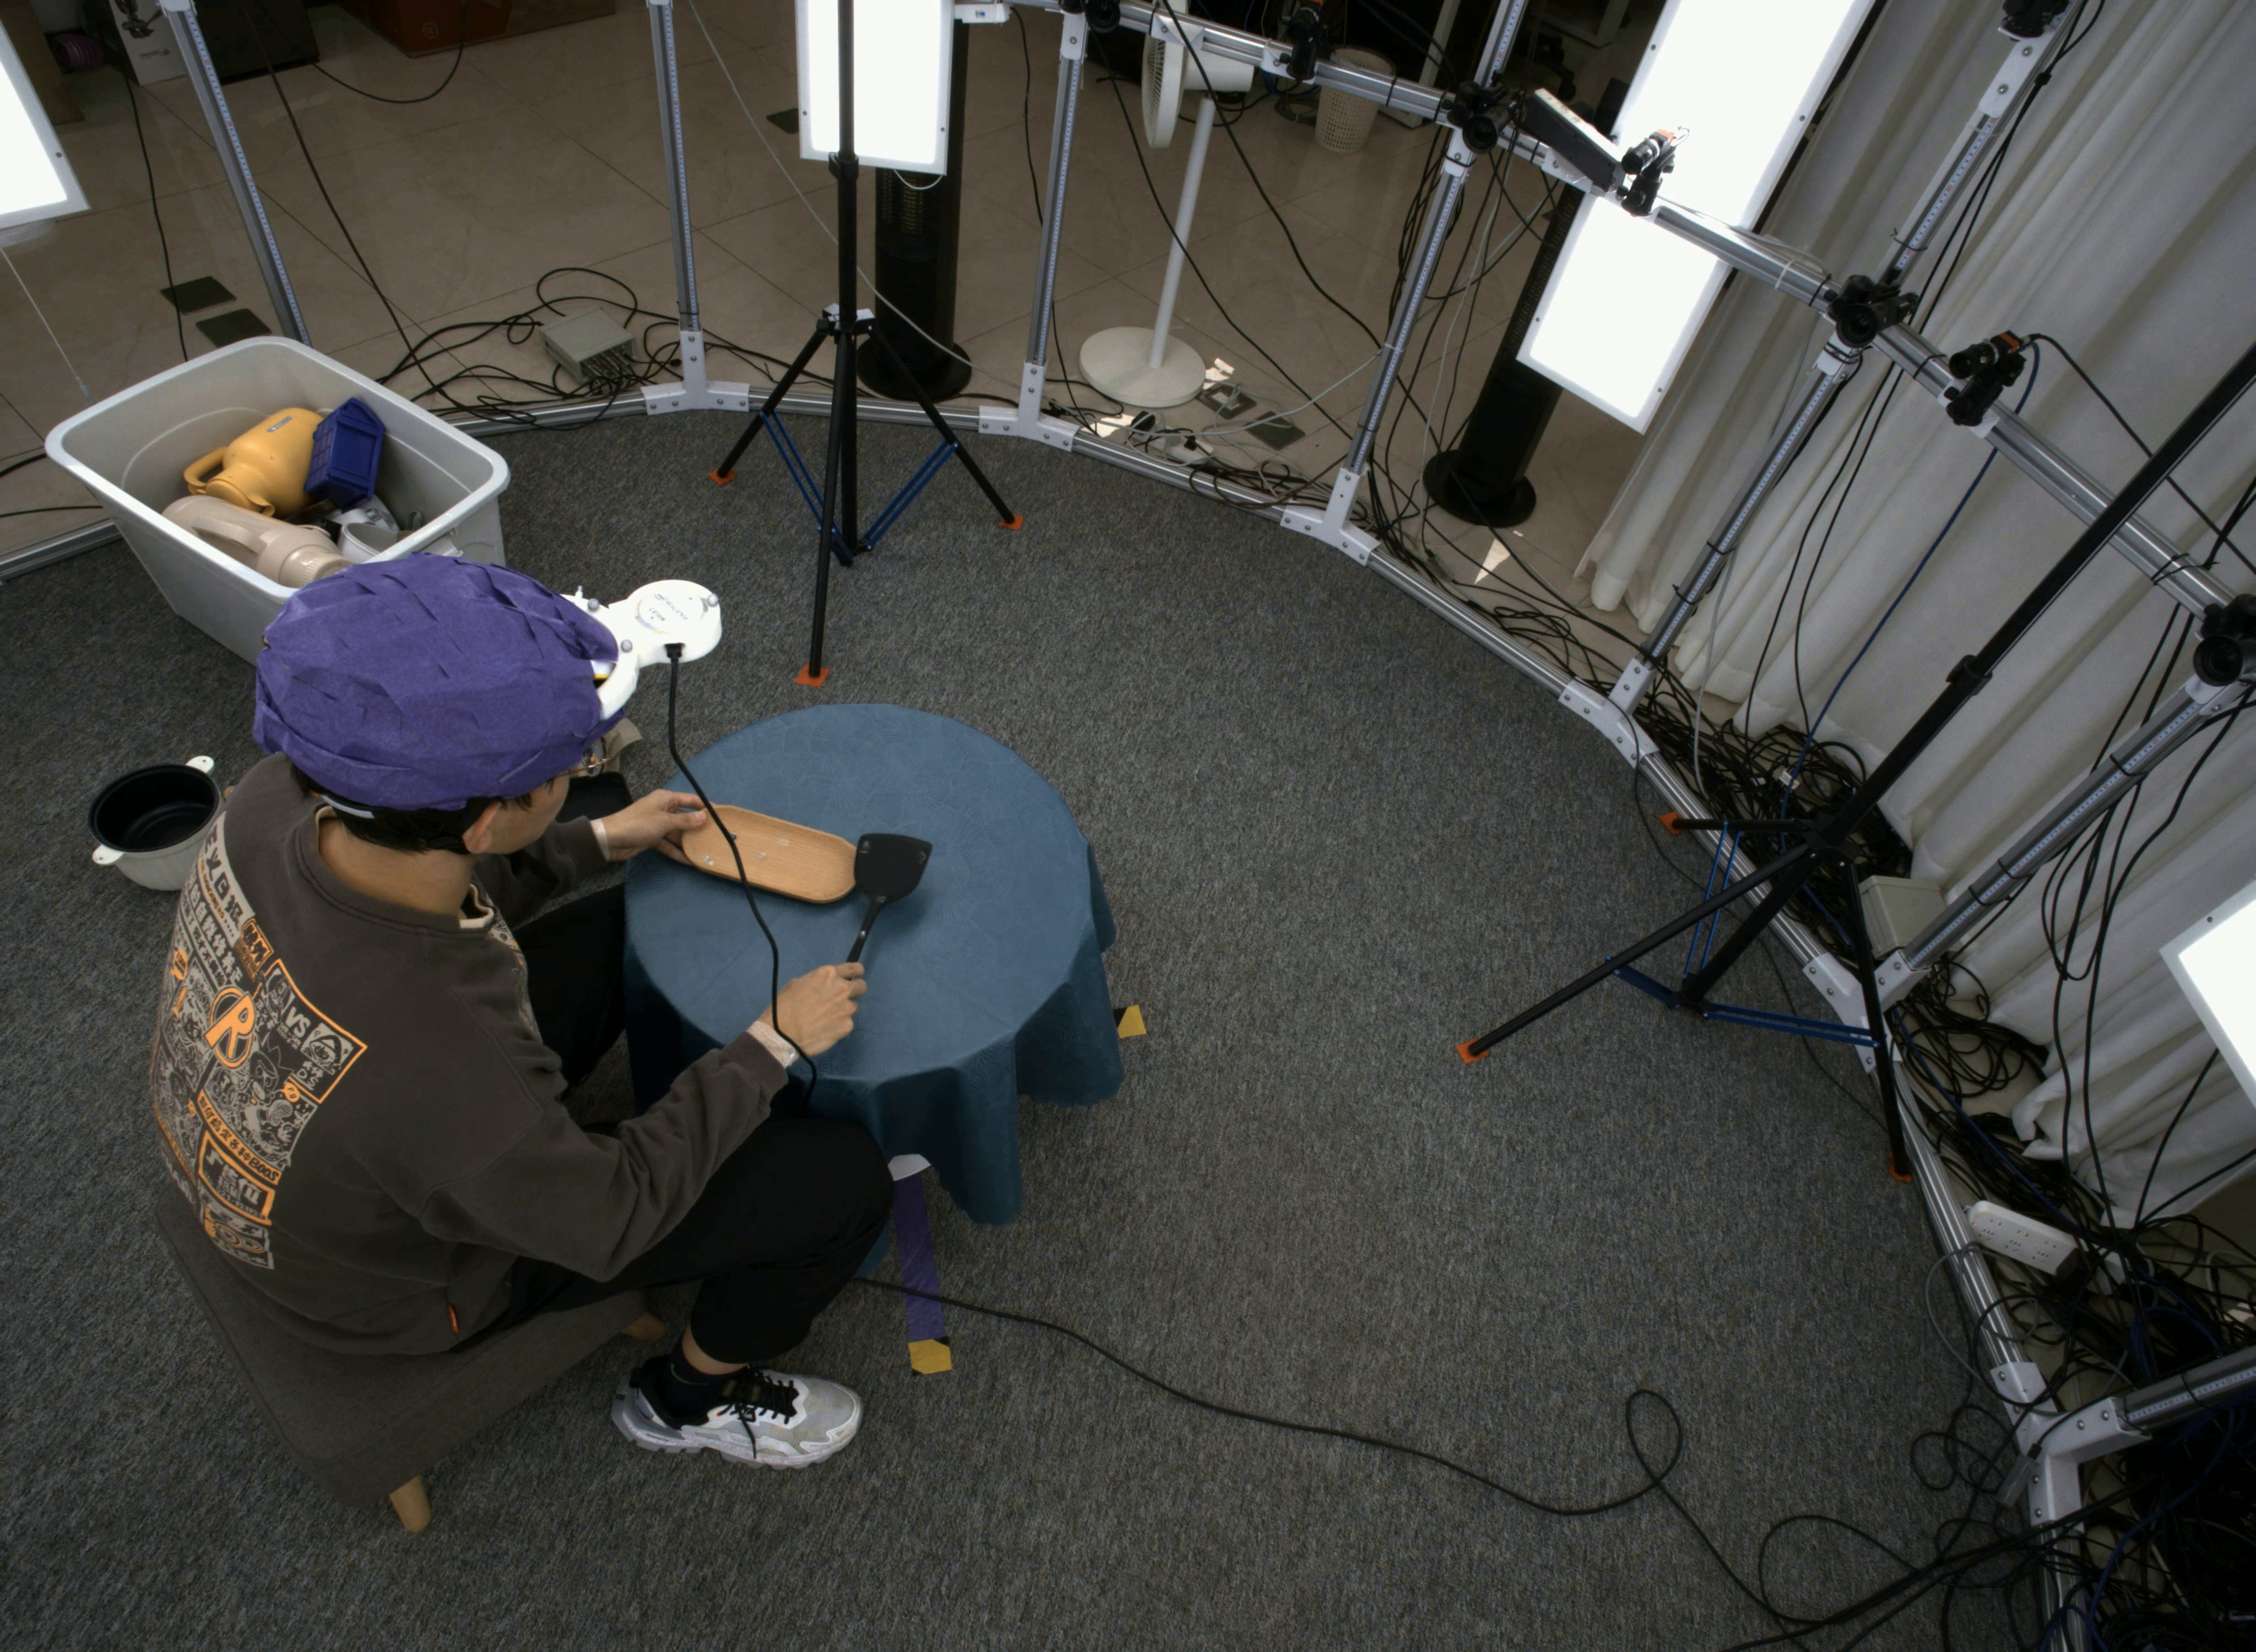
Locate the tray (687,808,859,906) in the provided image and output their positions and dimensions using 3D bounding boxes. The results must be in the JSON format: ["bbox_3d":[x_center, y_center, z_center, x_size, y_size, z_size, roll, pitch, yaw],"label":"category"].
[{"bbox_3d":[-0.456,0.039,1.676,0.231,0.020,0.100,17,57,-7],"label":"tray"}]

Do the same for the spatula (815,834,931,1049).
[{"bbox_3d":[-0.324,0.131,1.575,0.098,0.041,0.321,7,43,6],"label":"spatula"}]
